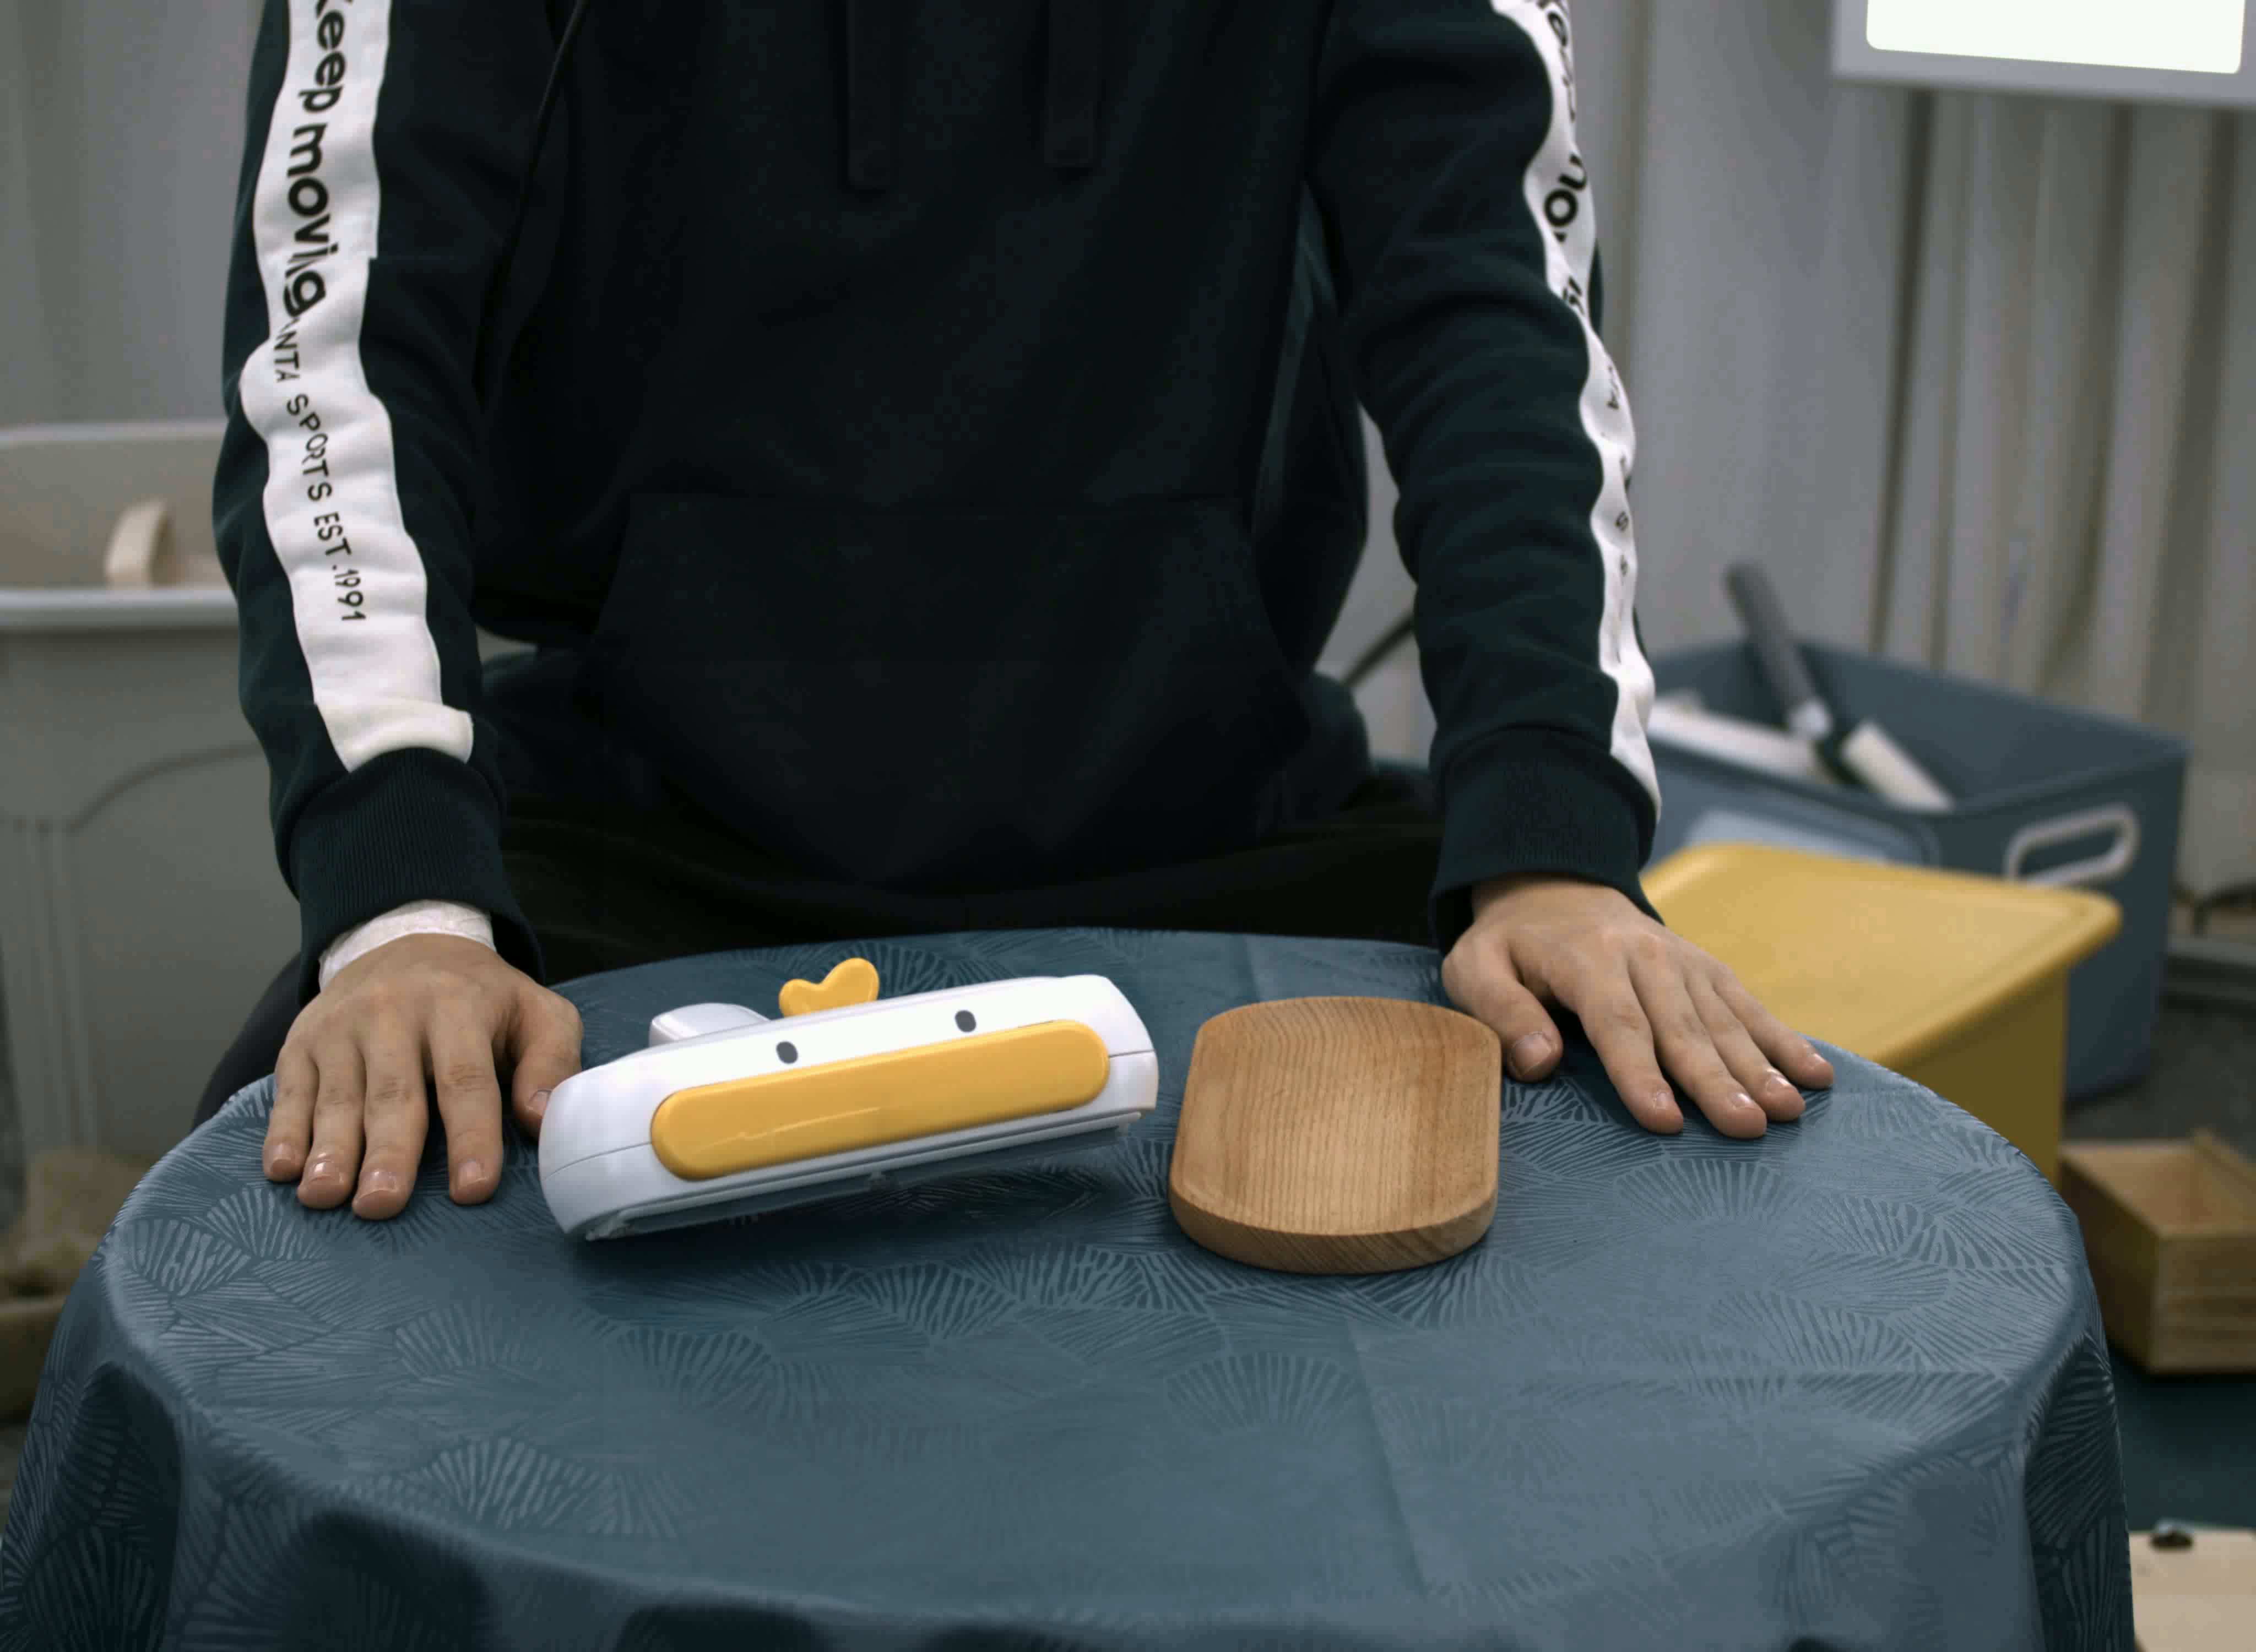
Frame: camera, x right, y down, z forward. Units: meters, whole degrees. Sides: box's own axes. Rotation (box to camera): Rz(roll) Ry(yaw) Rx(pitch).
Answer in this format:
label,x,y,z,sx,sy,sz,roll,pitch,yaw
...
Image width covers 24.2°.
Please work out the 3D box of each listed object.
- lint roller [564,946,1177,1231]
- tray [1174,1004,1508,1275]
label,x,y,z,sx,sy,sz,roll,pitch,yaw
lint roller,-0.104,0.080,1.640,0.193,0.074,0.191,-14,1,-26
tray,0.068,0.096,1.650,0.101,0.020,0.230,1,16,3
